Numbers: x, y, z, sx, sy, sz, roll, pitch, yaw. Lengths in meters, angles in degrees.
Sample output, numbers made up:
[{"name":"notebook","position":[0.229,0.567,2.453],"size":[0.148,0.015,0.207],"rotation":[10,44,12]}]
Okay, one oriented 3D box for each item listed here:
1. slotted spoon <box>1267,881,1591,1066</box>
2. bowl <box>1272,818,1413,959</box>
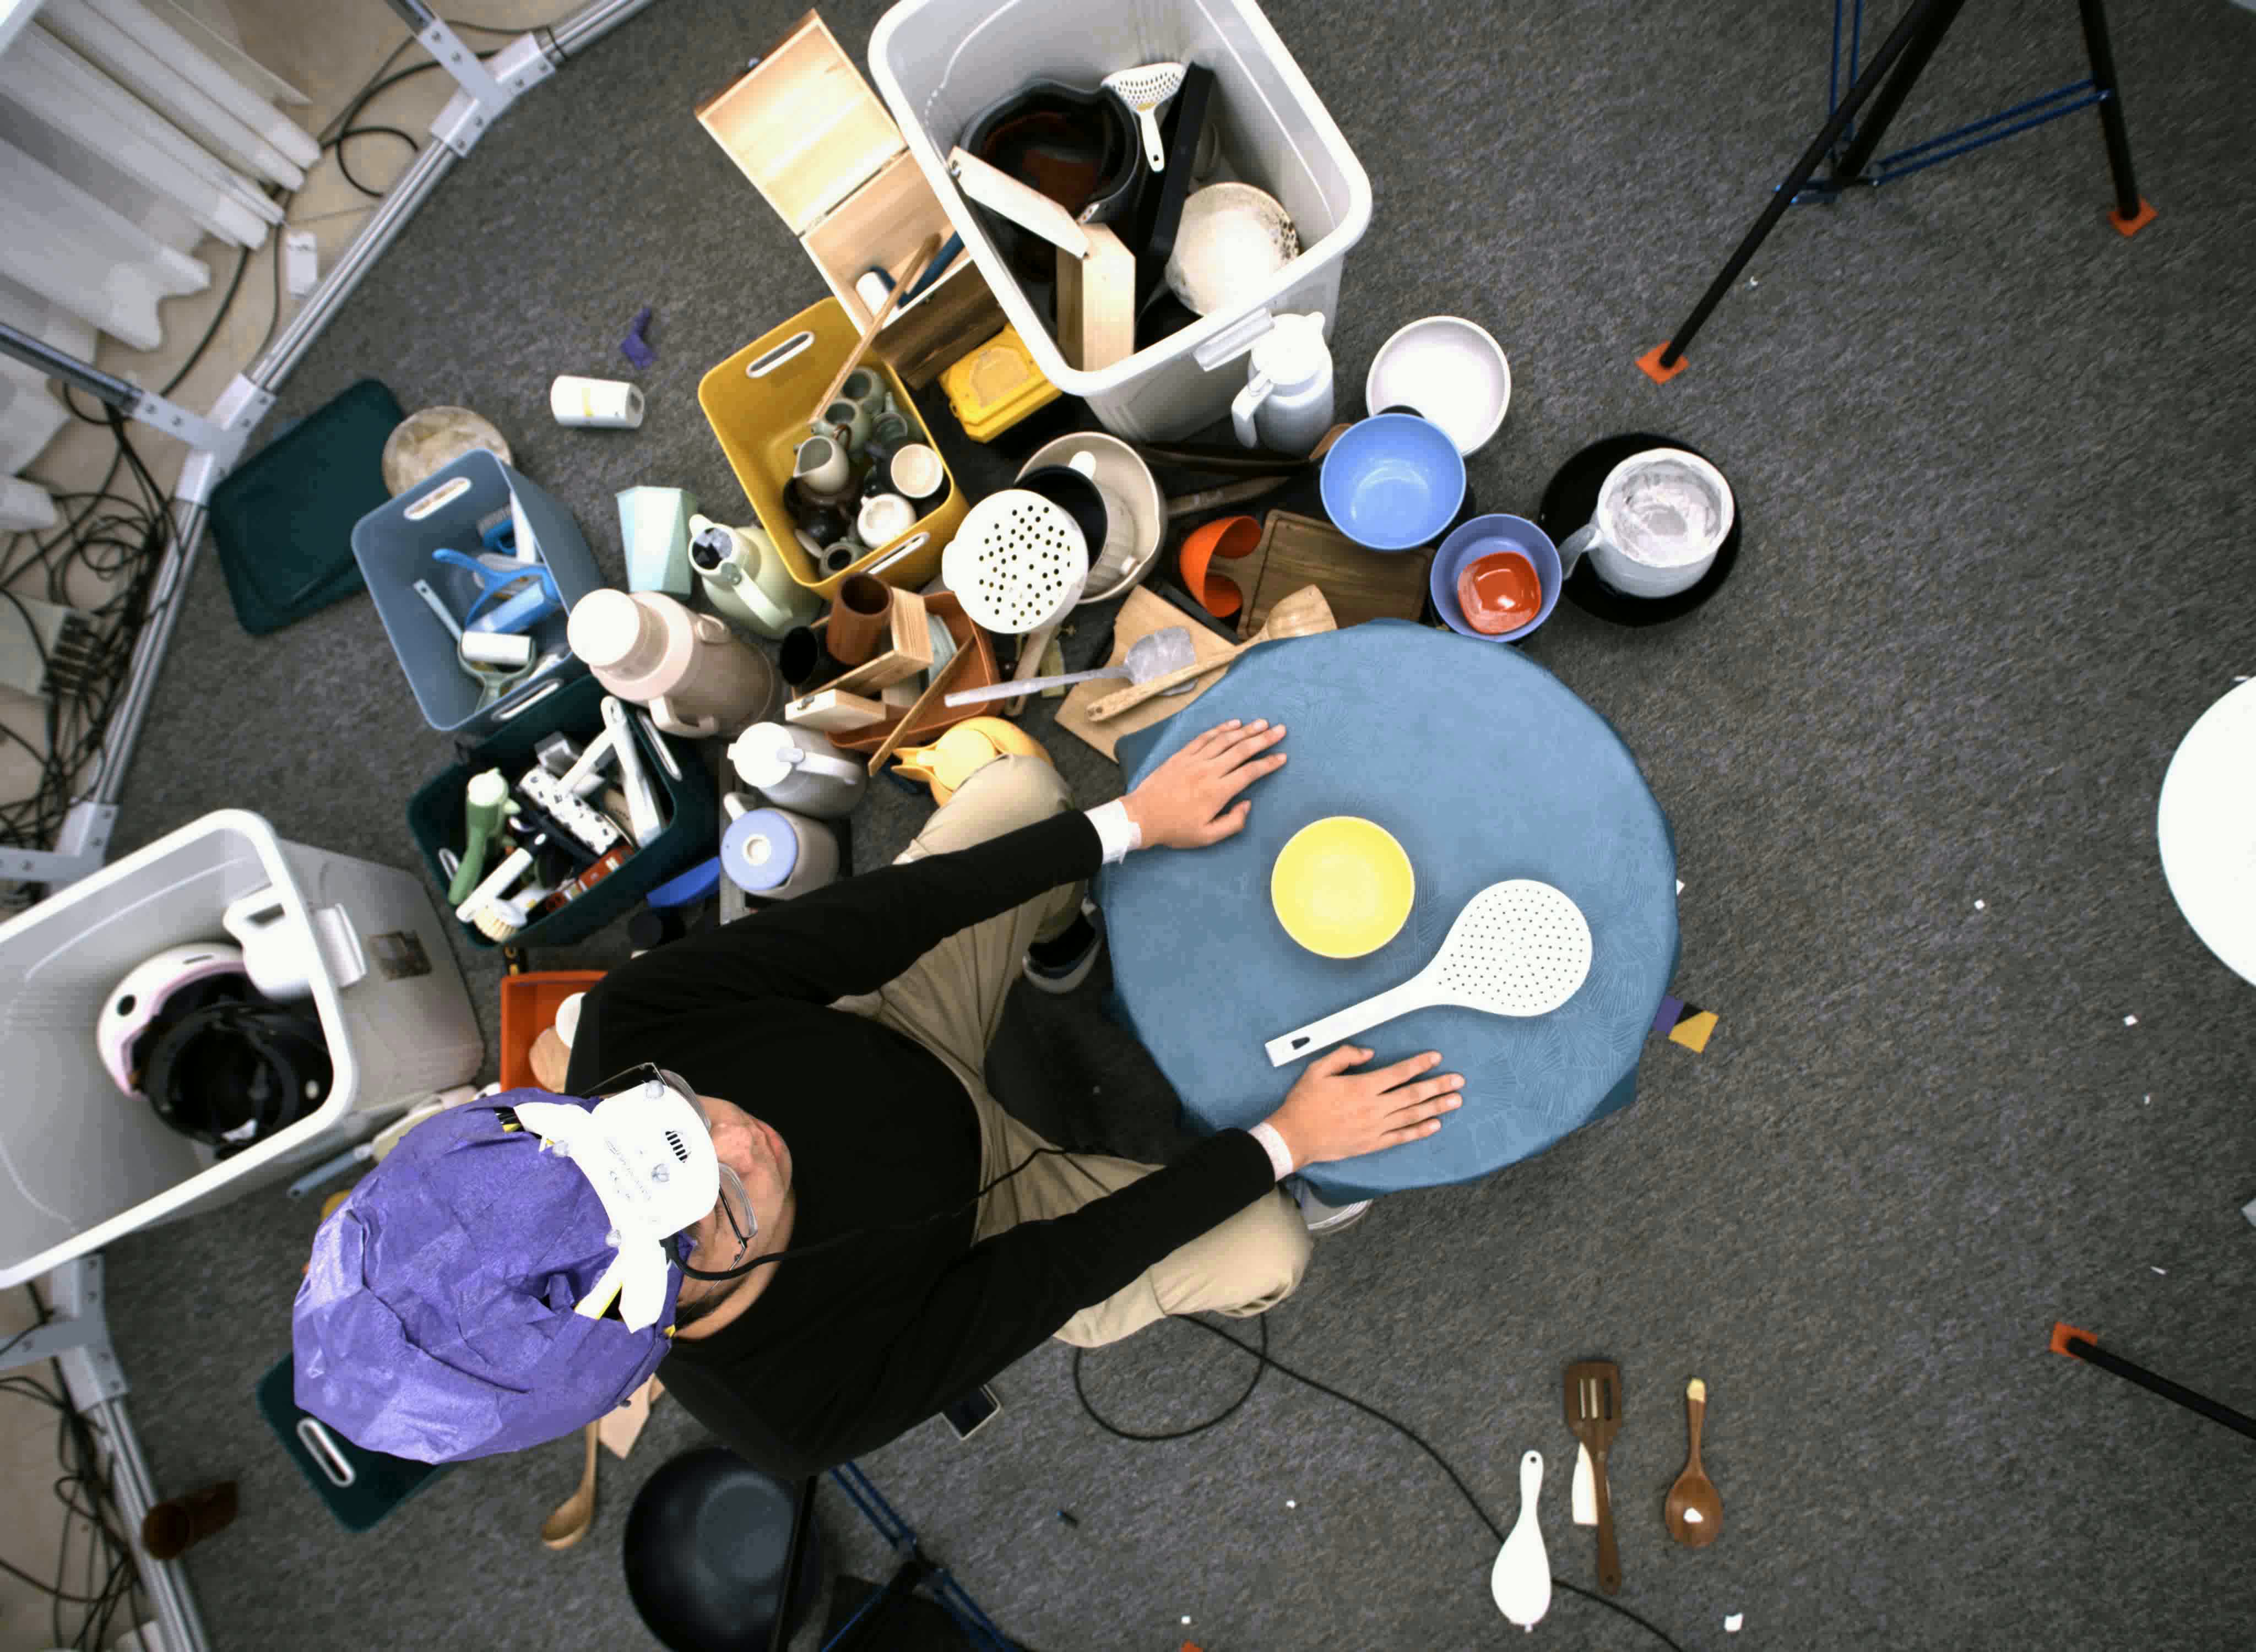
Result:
[{"name":"slotted spoon","position":[0.305,0.169,1.425],"size":[0.352,0.046,0.135],"rotation":[-25,82,9]},{"name":"bowl","position":[0.223,0.066,1.441],"size":[0.146,0.060,0.144],"rotation":[-1,84,9]}]
